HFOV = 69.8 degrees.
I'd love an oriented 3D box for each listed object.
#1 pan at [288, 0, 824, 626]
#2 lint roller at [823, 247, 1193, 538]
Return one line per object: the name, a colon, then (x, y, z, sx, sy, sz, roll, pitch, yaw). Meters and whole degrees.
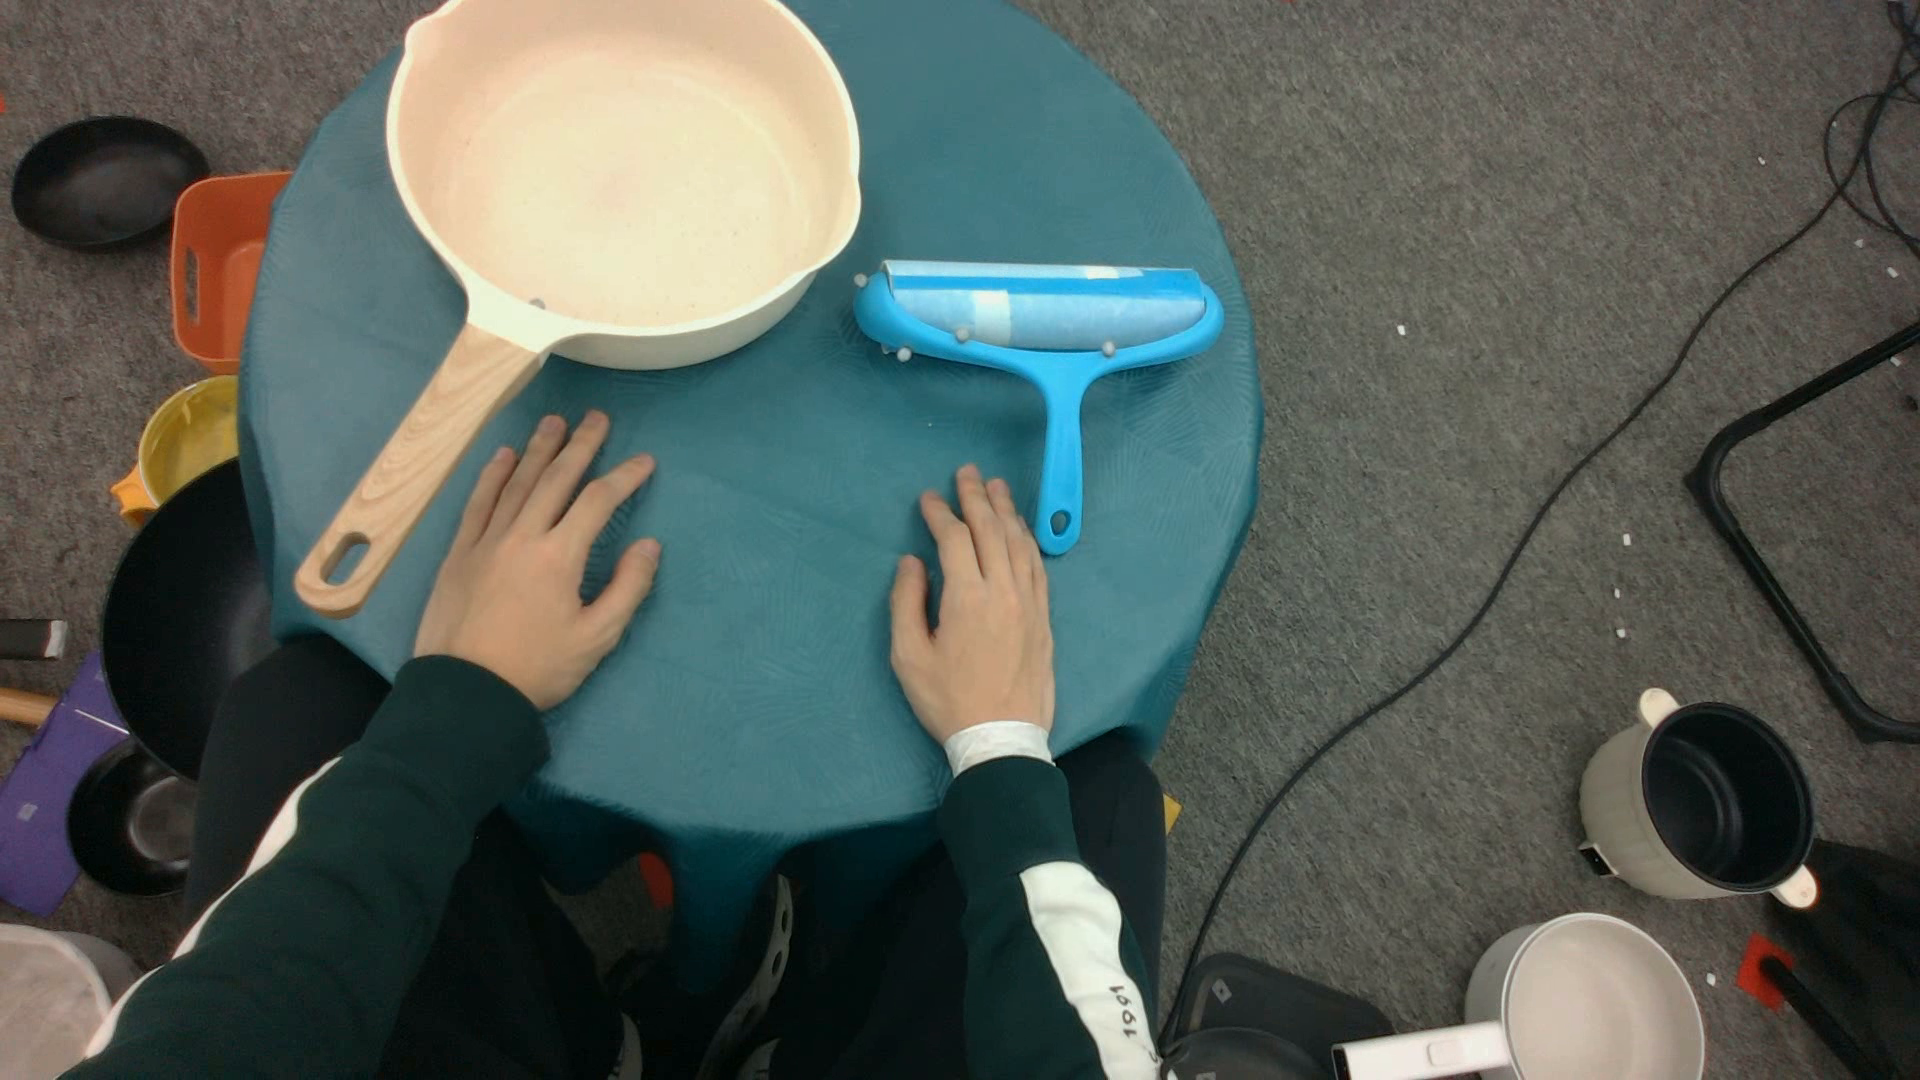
pan: (-0.238, -0.140, 0.749, 0.263, 0.101, 0.436, 23, 67, -5)
lint roller: (0.040, -0.096, 0.817, 0.229, 0.067, 0.180, -4, 70, -15)
